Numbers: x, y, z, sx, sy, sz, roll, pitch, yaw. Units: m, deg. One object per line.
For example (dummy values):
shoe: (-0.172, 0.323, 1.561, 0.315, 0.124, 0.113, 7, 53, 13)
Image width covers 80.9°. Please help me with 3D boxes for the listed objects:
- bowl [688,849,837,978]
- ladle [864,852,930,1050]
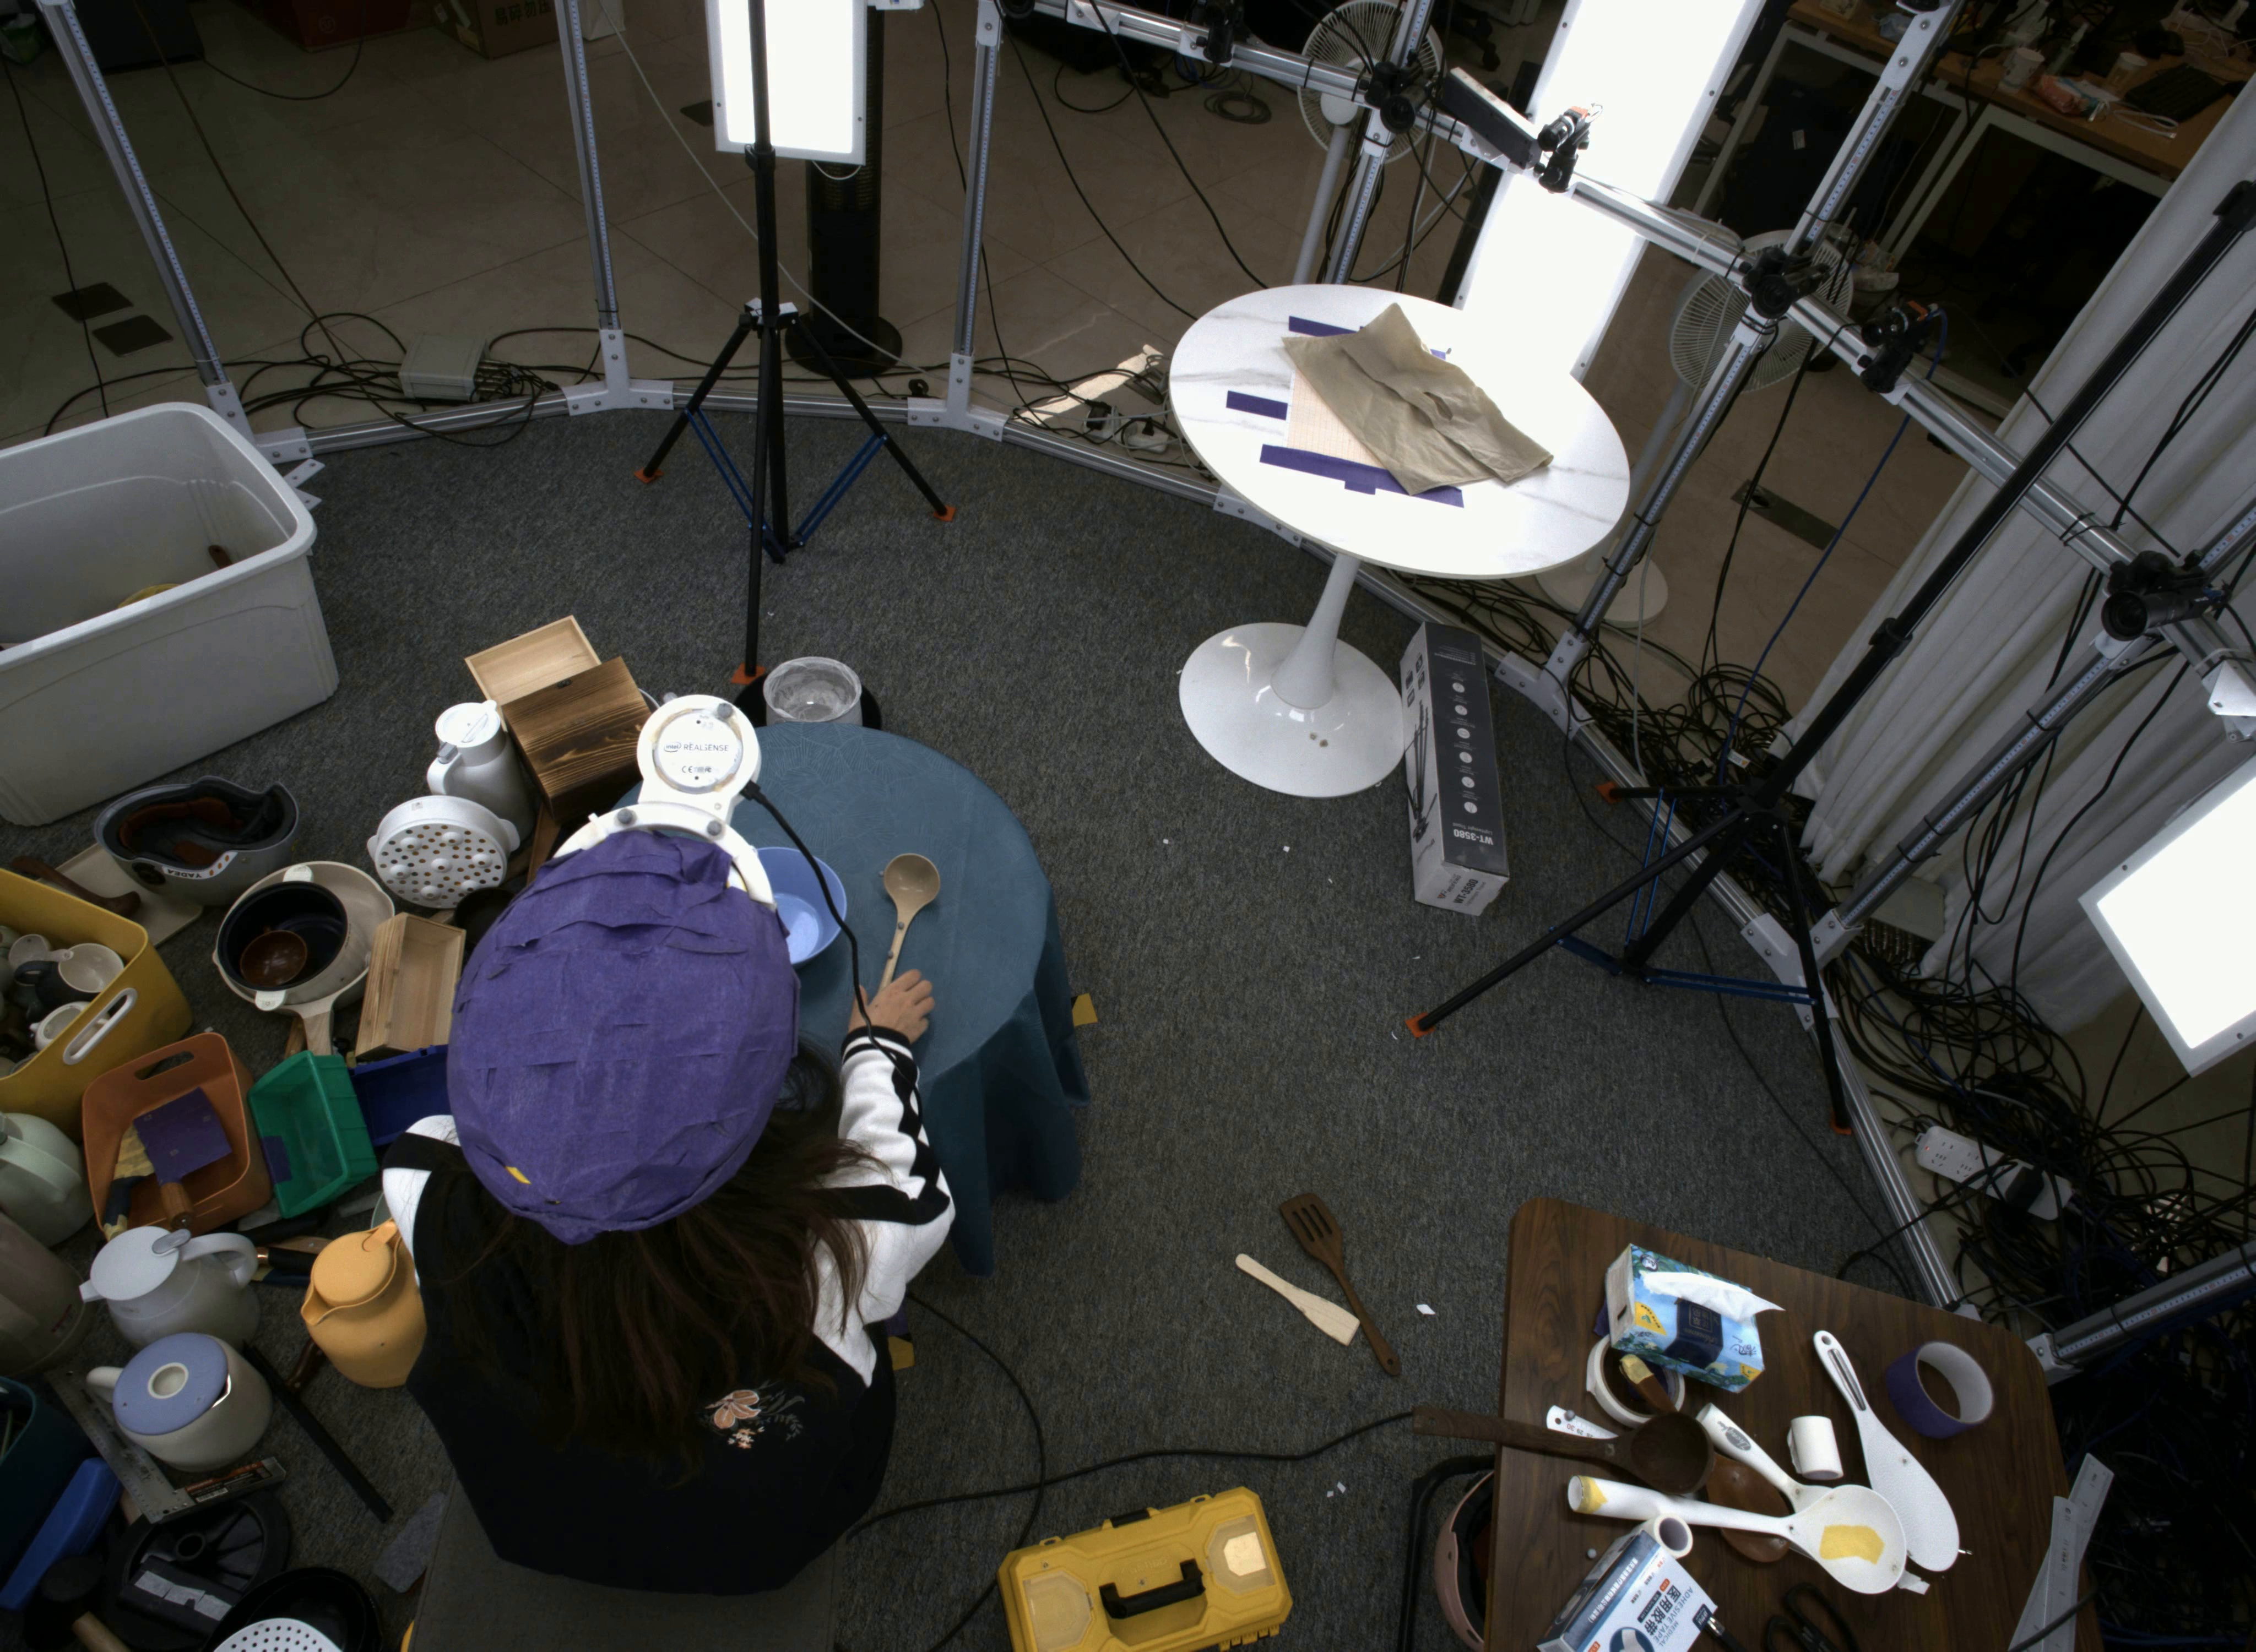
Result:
bowl: (-0.443, 0.116, 1.582, 0.175, 0.072, 0.173, 7, 52, -8)
ladle: (-0.295, 0.143, 1.598, 0.072, 0.074, 0.250, 8, 52, -5)
